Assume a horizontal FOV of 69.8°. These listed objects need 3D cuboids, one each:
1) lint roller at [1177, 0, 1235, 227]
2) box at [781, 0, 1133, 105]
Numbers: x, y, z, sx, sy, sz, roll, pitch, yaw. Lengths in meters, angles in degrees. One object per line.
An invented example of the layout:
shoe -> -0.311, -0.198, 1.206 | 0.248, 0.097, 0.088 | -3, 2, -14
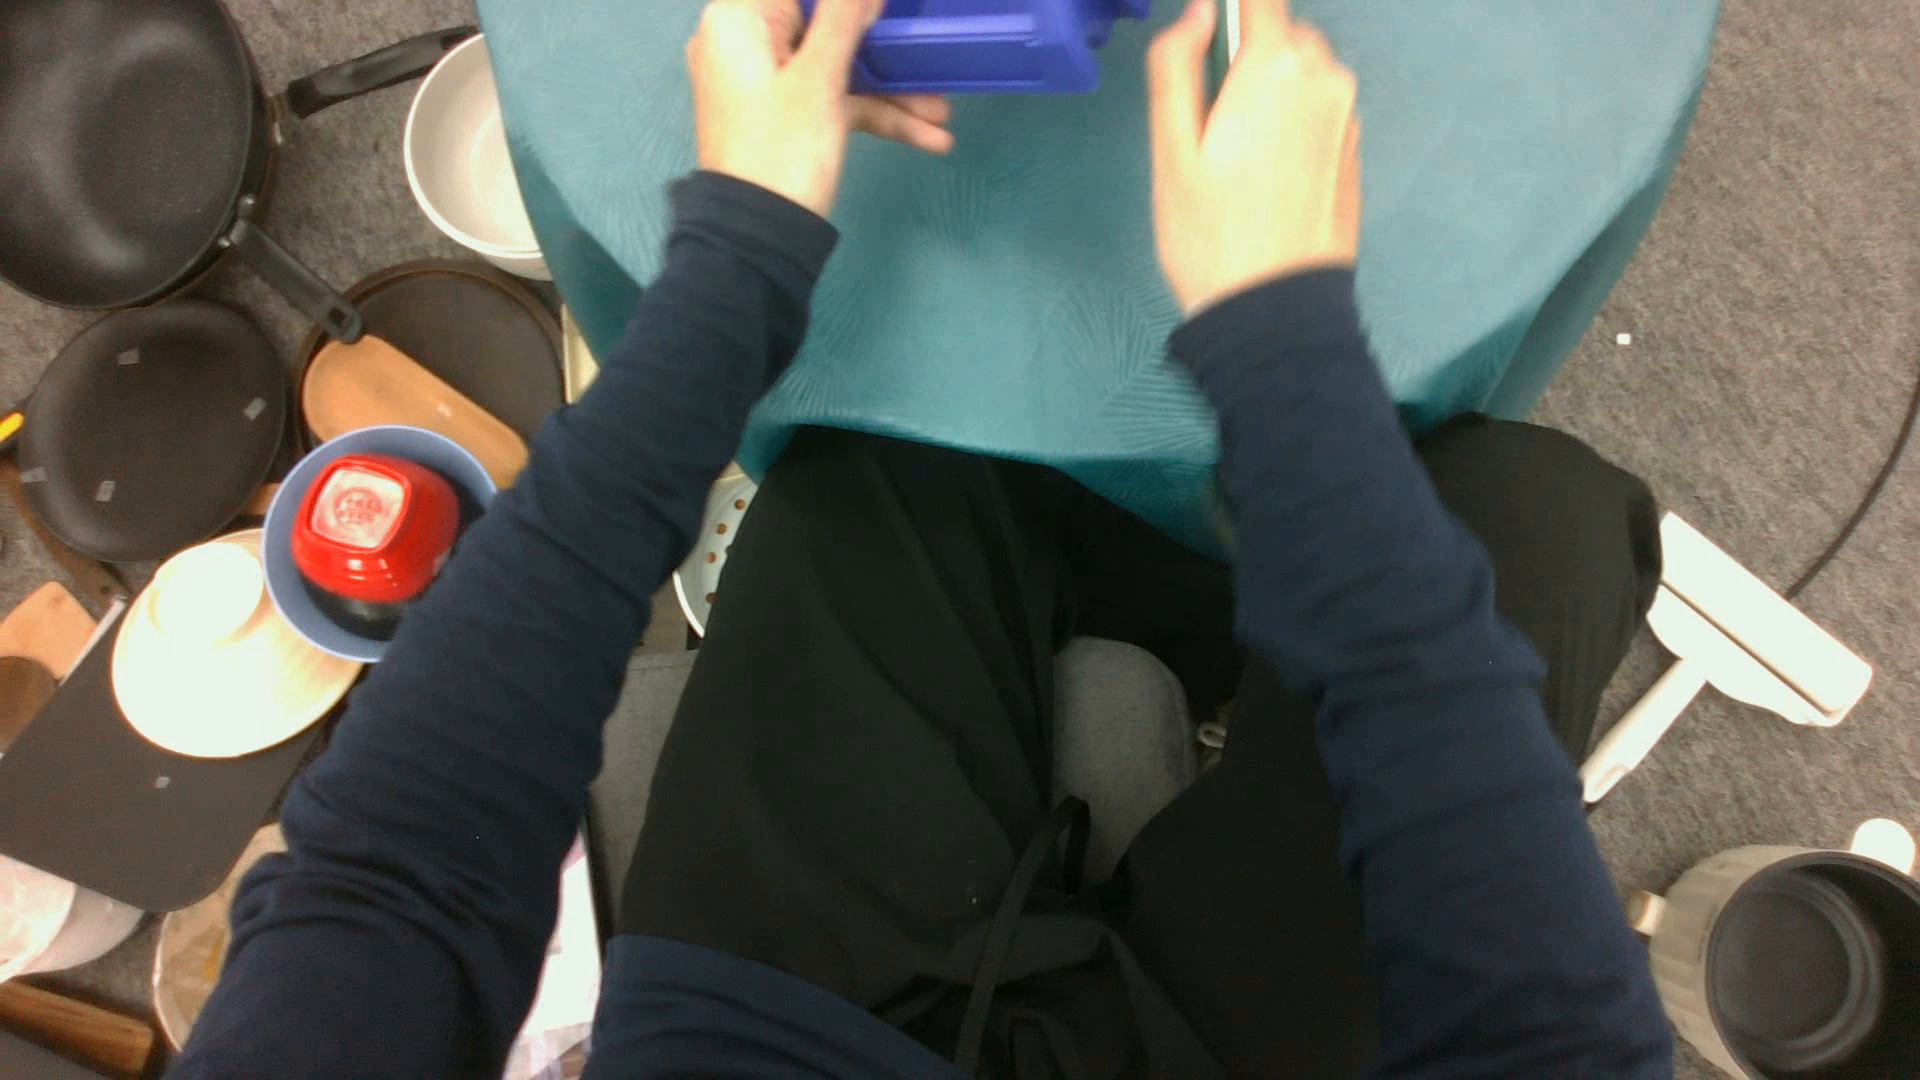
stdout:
lint roller -> 0.100, -0.209, 0.509 | 0.048, 0.134, 0.180 | -8, 86, 34
box -> 0.012, -0.259, 0.527 | 0.124, 0.082, 0.179 | 13, 79, 33
